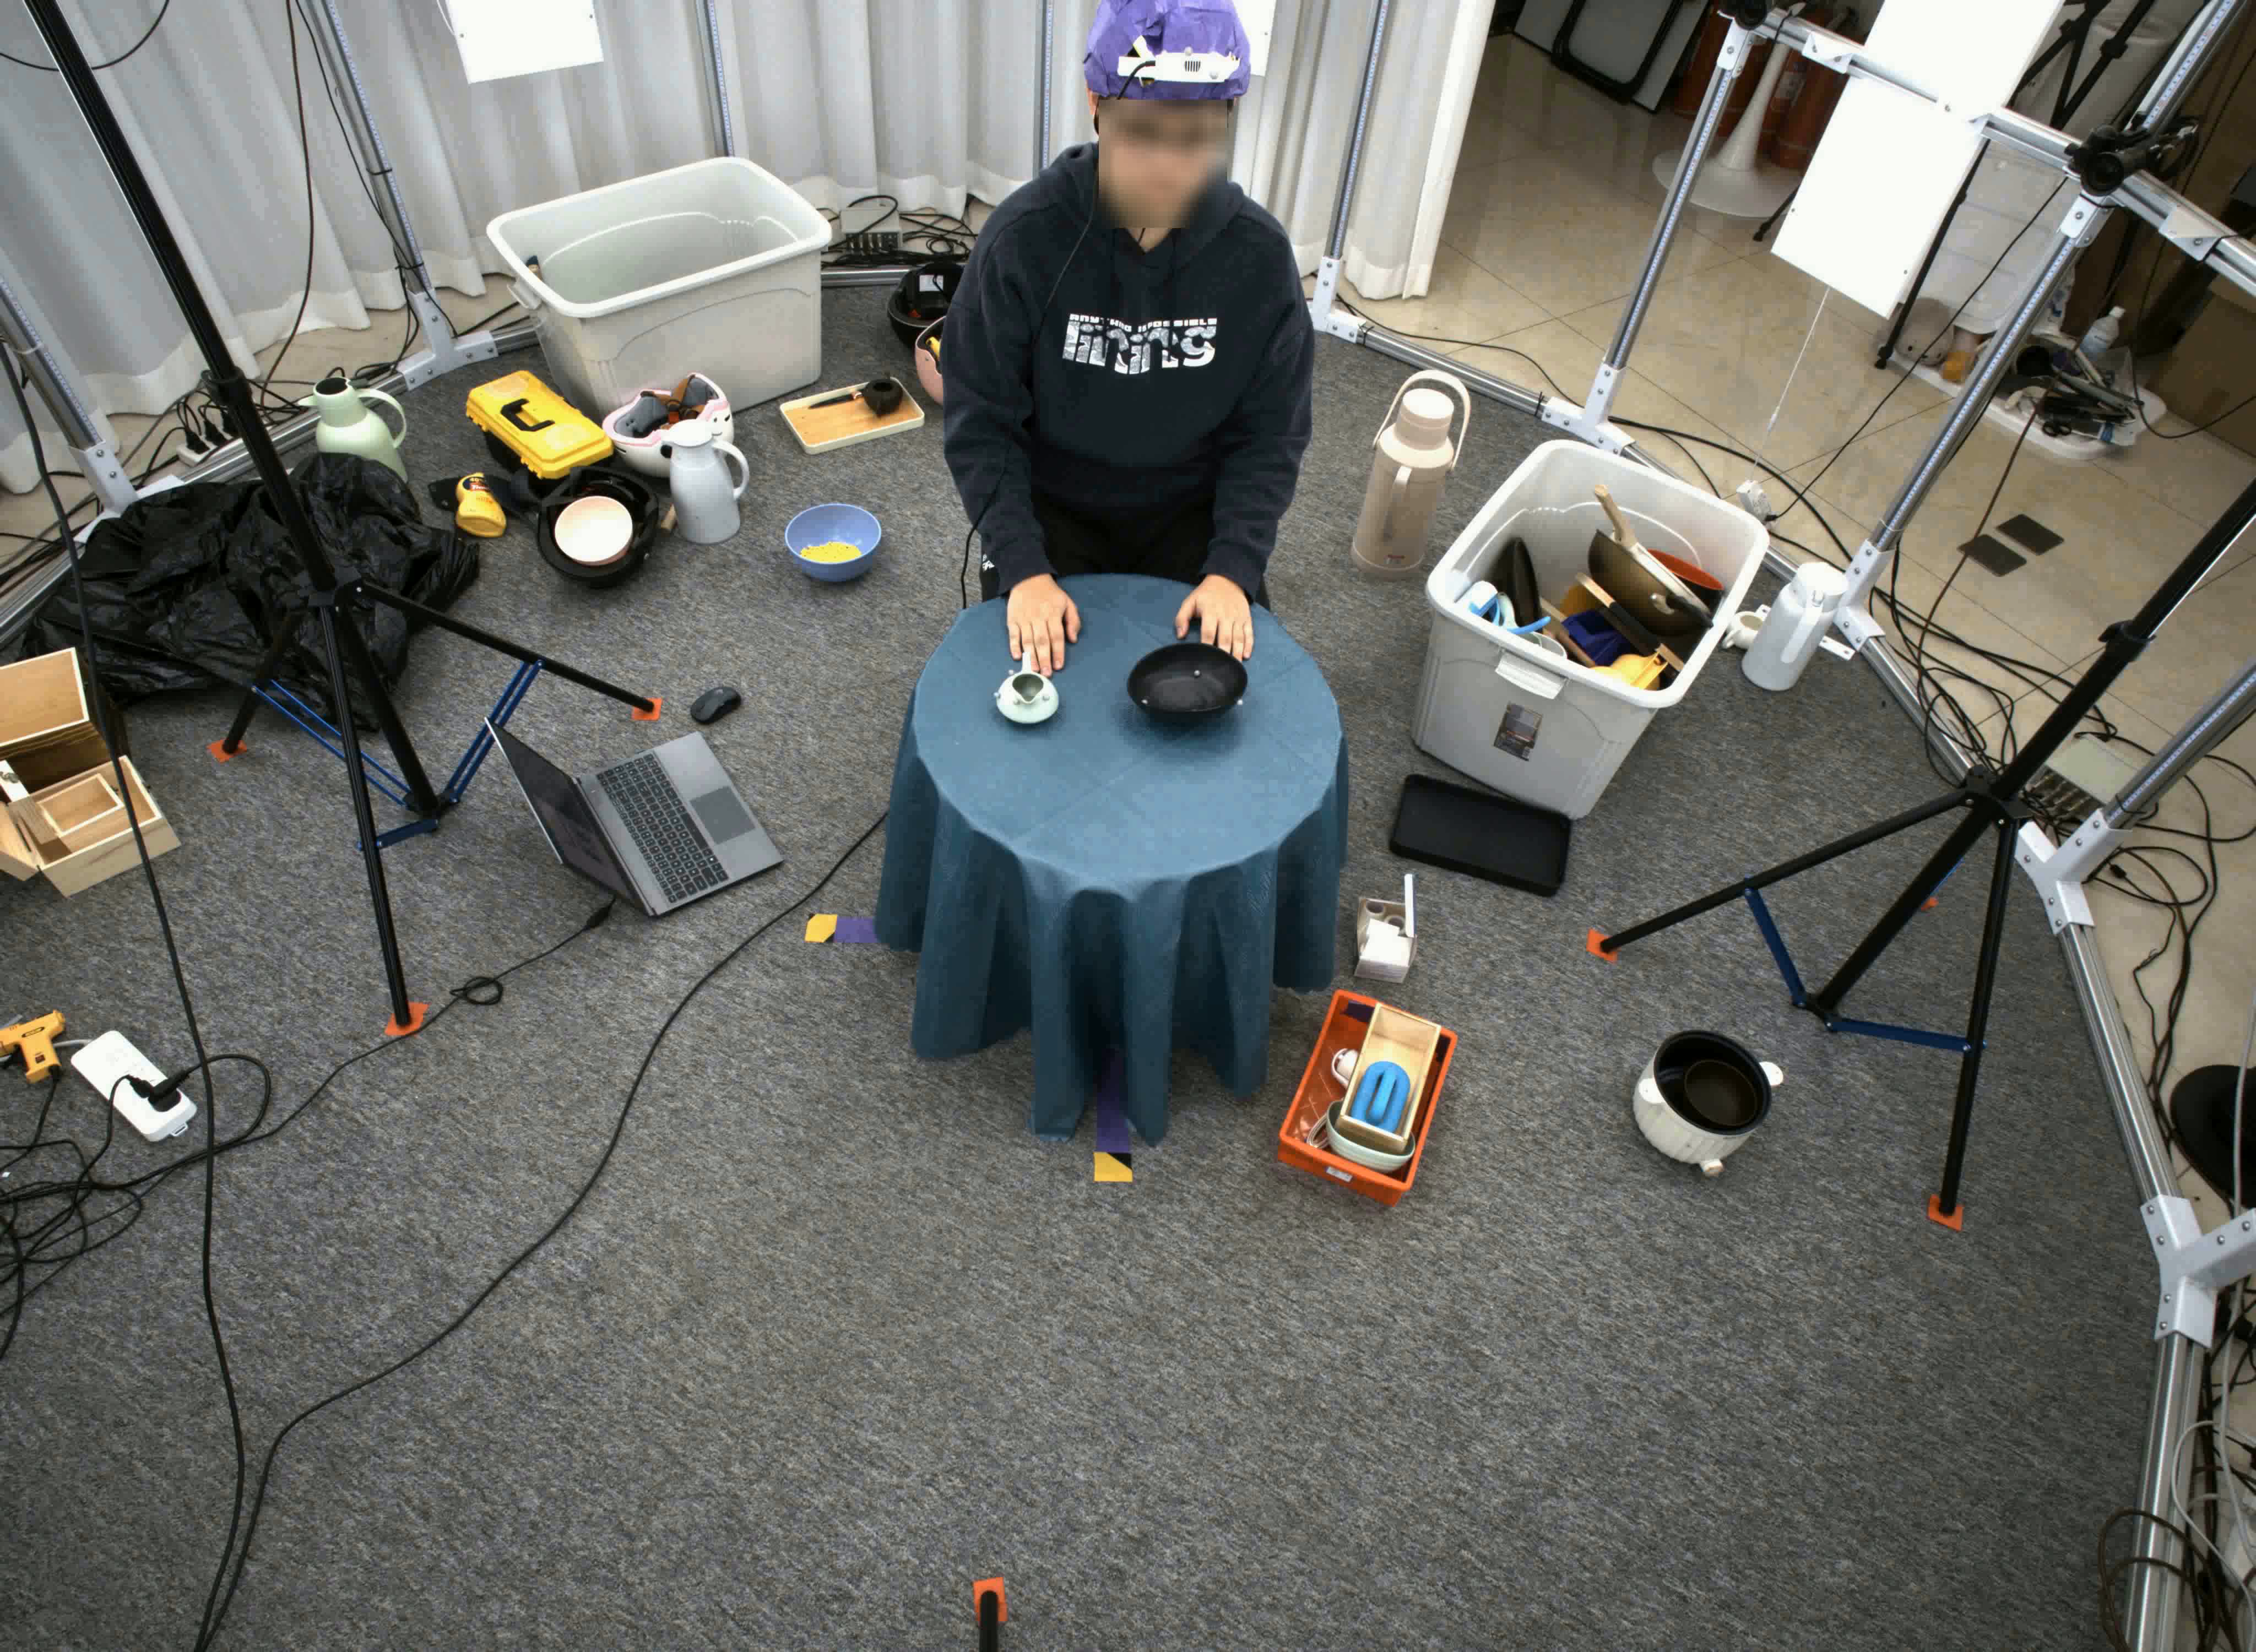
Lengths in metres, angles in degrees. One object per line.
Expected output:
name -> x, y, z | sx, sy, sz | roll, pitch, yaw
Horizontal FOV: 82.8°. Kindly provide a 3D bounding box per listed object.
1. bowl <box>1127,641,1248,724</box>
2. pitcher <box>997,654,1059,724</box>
bowl -> 0.083, -0.187, 1.794 | 0.170, 0.065, 0.141 | -9, 50, -11
pitcher -> -0.140, -0.189, 1.782 | 0.086, 0.059, 0.111 | -1, 47, -7
